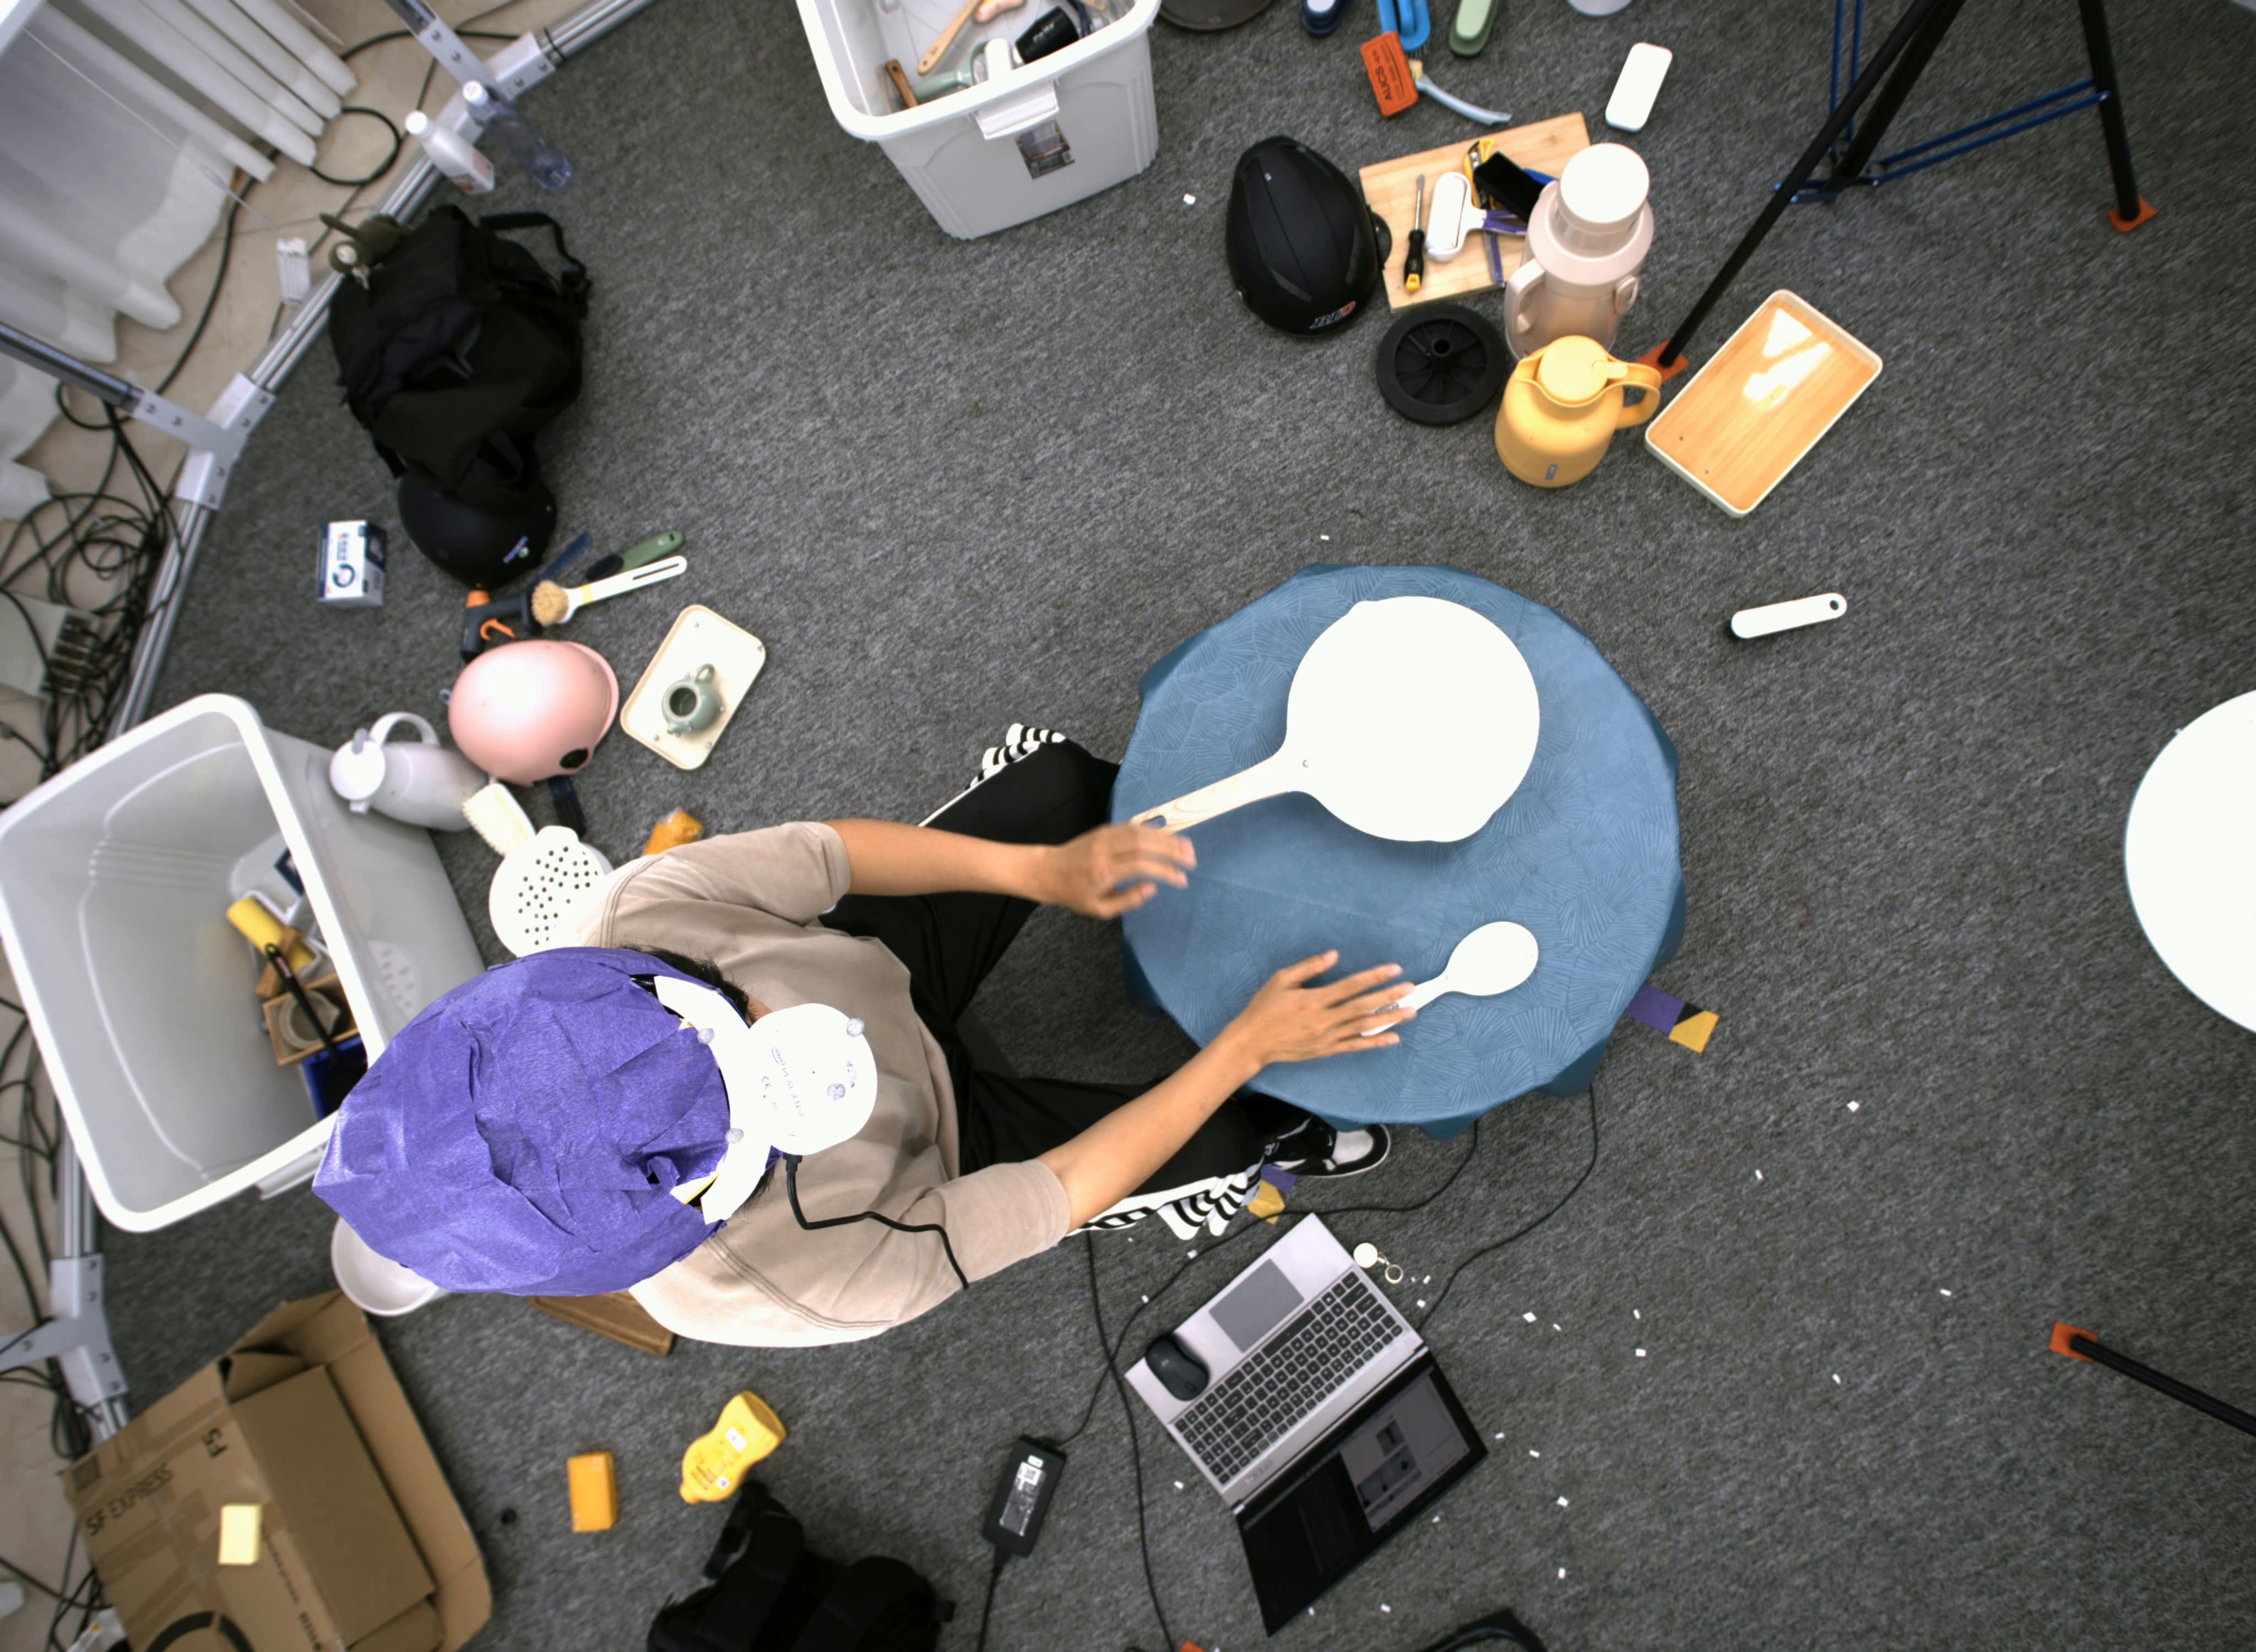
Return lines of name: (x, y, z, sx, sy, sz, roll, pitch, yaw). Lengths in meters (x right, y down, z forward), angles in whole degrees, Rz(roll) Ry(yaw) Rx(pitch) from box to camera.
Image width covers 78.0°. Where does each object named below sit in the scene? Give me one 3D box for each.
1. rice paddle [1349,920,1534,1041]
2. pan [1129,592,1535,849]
rice paddle: (0.326, 0.160, 1.429, 0.206, 0.029, 0.068, -29, 77, 7)
pan: (0.206, -0.075, 1.435, 0.437, 0.102, 0.262, -24, 85, 9)
